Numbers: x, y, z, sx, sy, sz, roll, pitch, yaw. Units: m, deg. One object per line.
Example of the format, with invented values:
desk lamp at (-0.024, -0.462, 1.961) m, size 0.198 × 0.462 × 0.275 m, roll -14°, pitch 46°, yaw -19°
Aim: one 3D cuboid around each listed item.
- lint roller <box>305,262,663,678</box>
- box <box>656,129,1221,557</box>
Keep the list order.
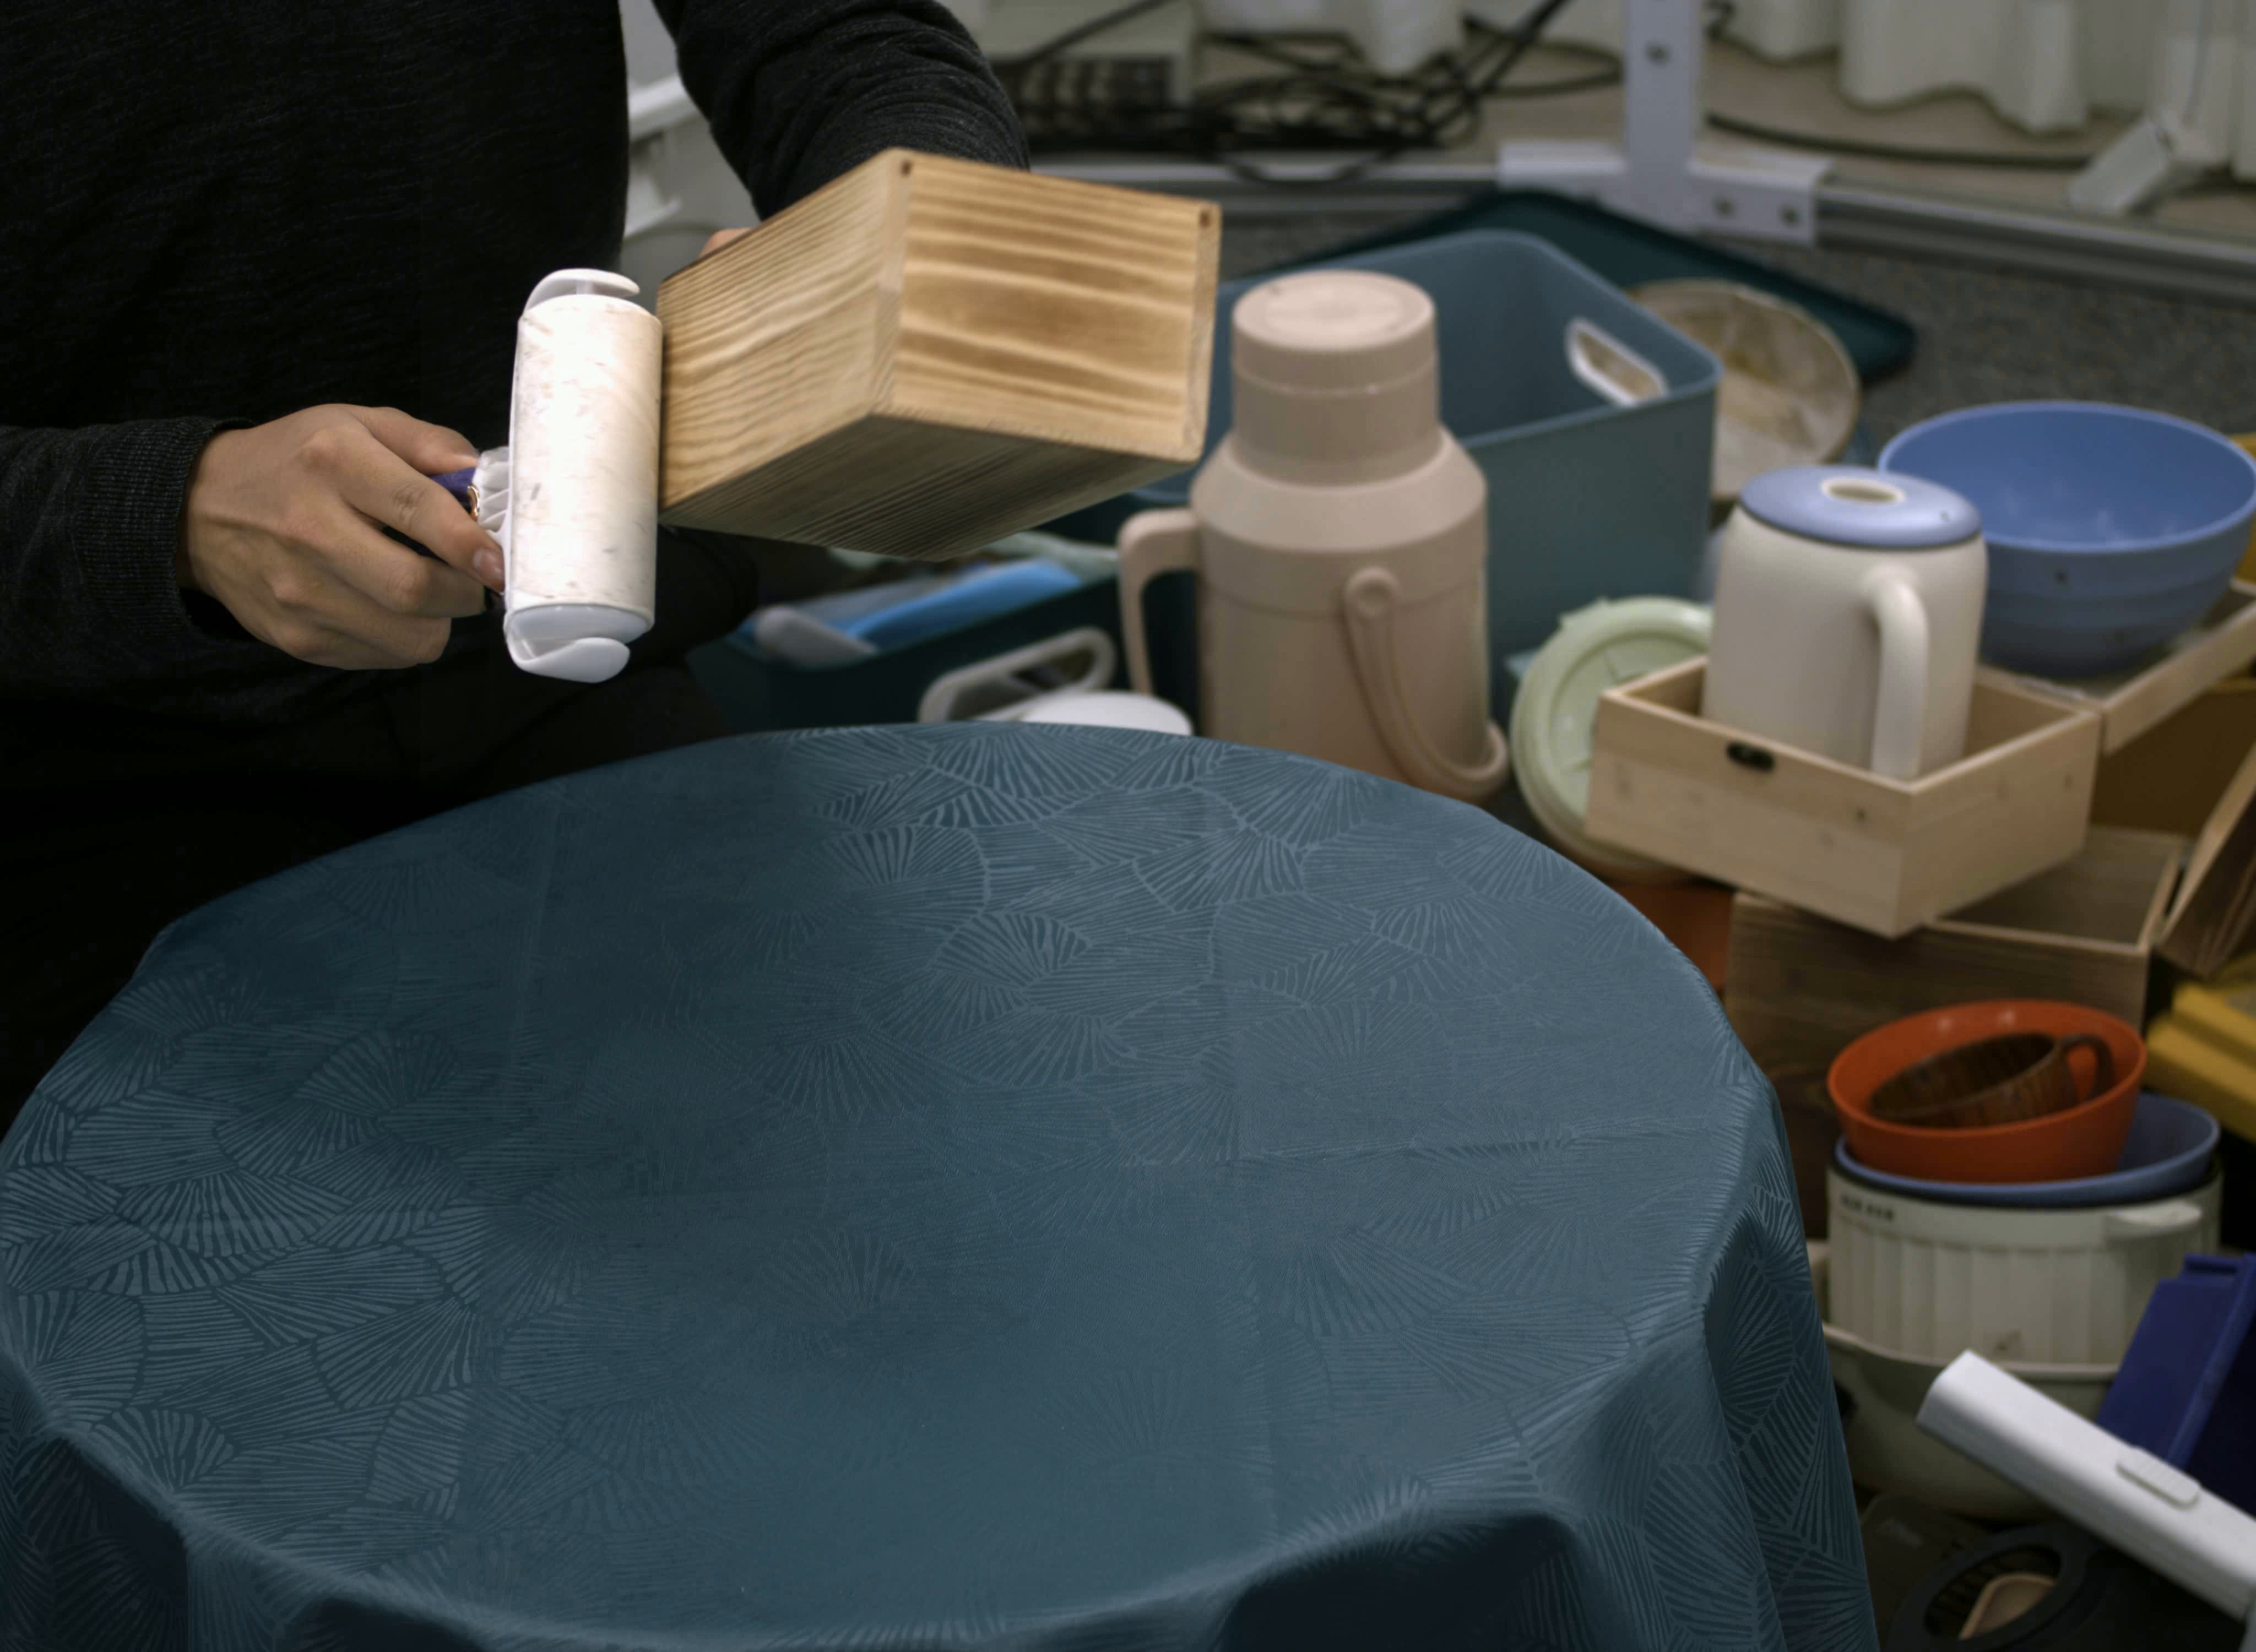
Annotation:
lint roller at (-0.220, -0.105, 1.829) m, size 0.178 × 0.134 × 0.050 m, roll -10°, pitch -17°, yaw 39°
box at (-0.063, -0.144, 1.736) m, size 0.107 × 0.081 × 0.209 m, roll 7°, pitch -10°, yaw -24°
